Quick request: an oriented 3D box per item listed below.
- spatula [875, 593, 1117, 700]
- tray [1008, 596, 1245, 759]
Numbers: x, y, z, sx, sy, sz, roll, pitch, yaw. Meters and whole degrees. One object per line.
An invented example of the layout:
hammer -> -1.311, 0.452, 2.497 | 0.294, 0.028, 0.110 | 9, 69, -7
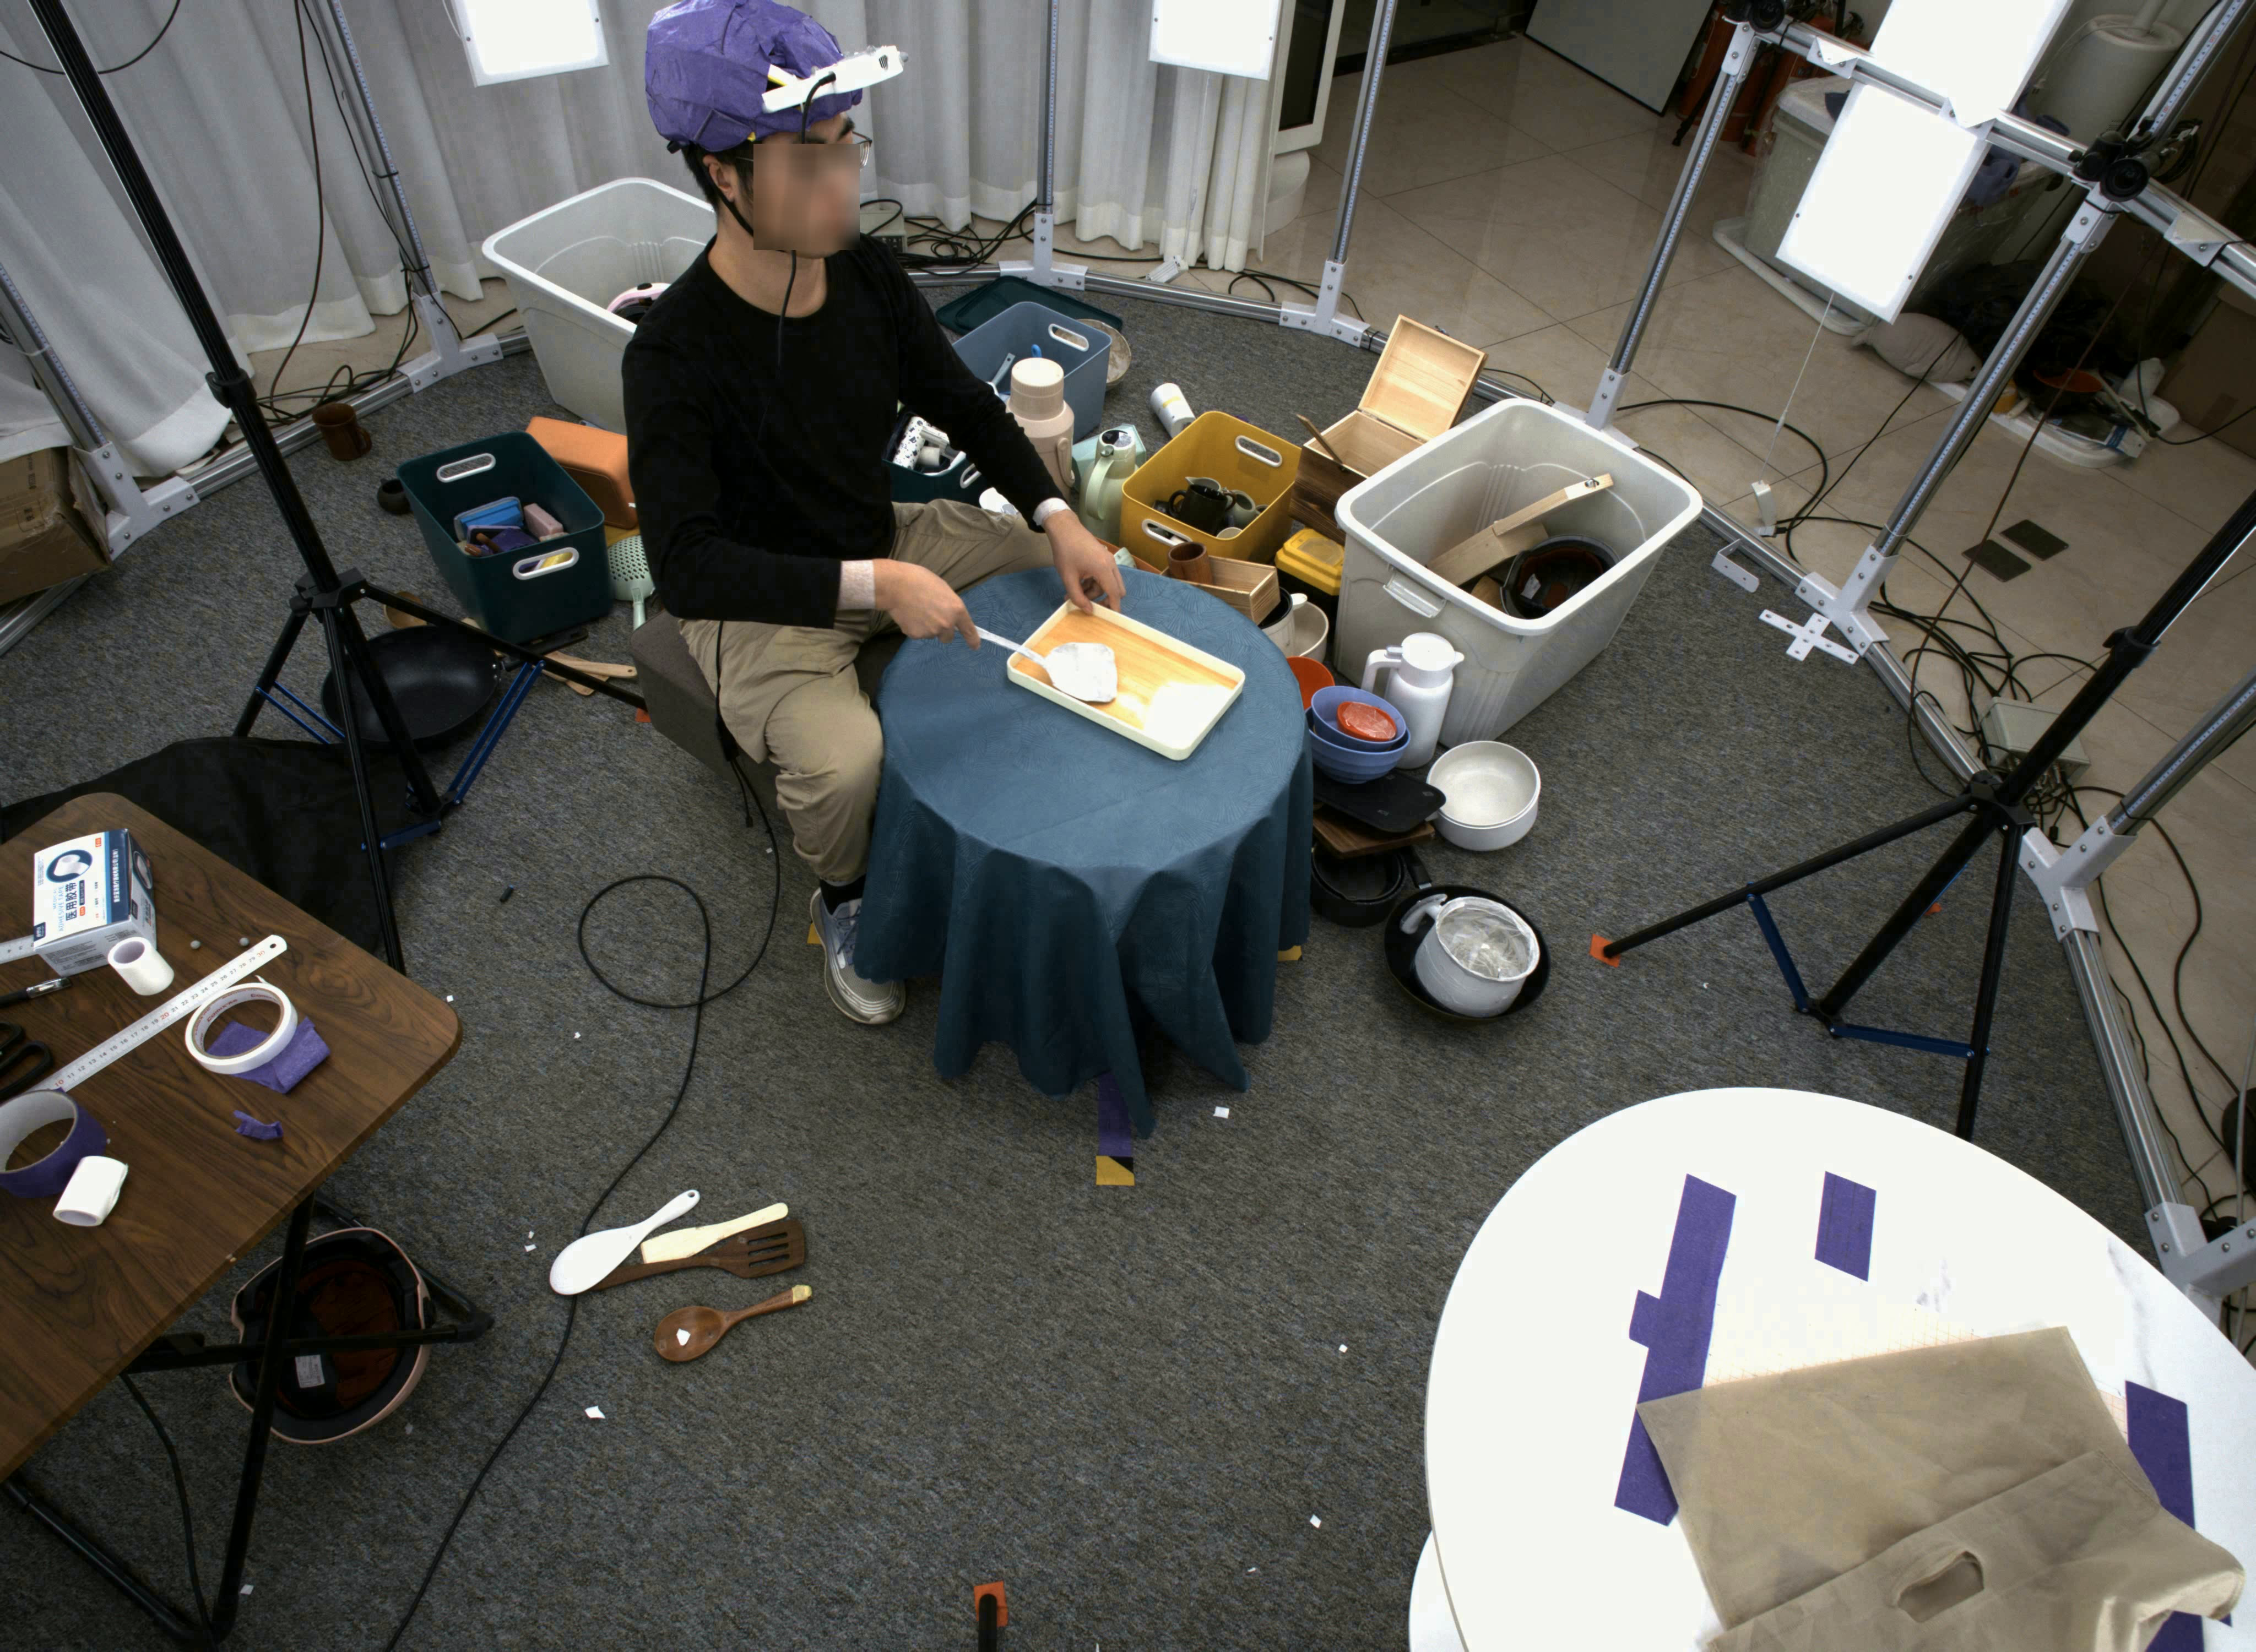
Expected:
spatula -> -0.169, -0.253, 1.743 | 0.360, 0.044, 0.101 | 17, 56, -35
tray -> -0.003, -0.218, 1.841 | 0.303, 0.027, 0.194 | 27, 53, 19
